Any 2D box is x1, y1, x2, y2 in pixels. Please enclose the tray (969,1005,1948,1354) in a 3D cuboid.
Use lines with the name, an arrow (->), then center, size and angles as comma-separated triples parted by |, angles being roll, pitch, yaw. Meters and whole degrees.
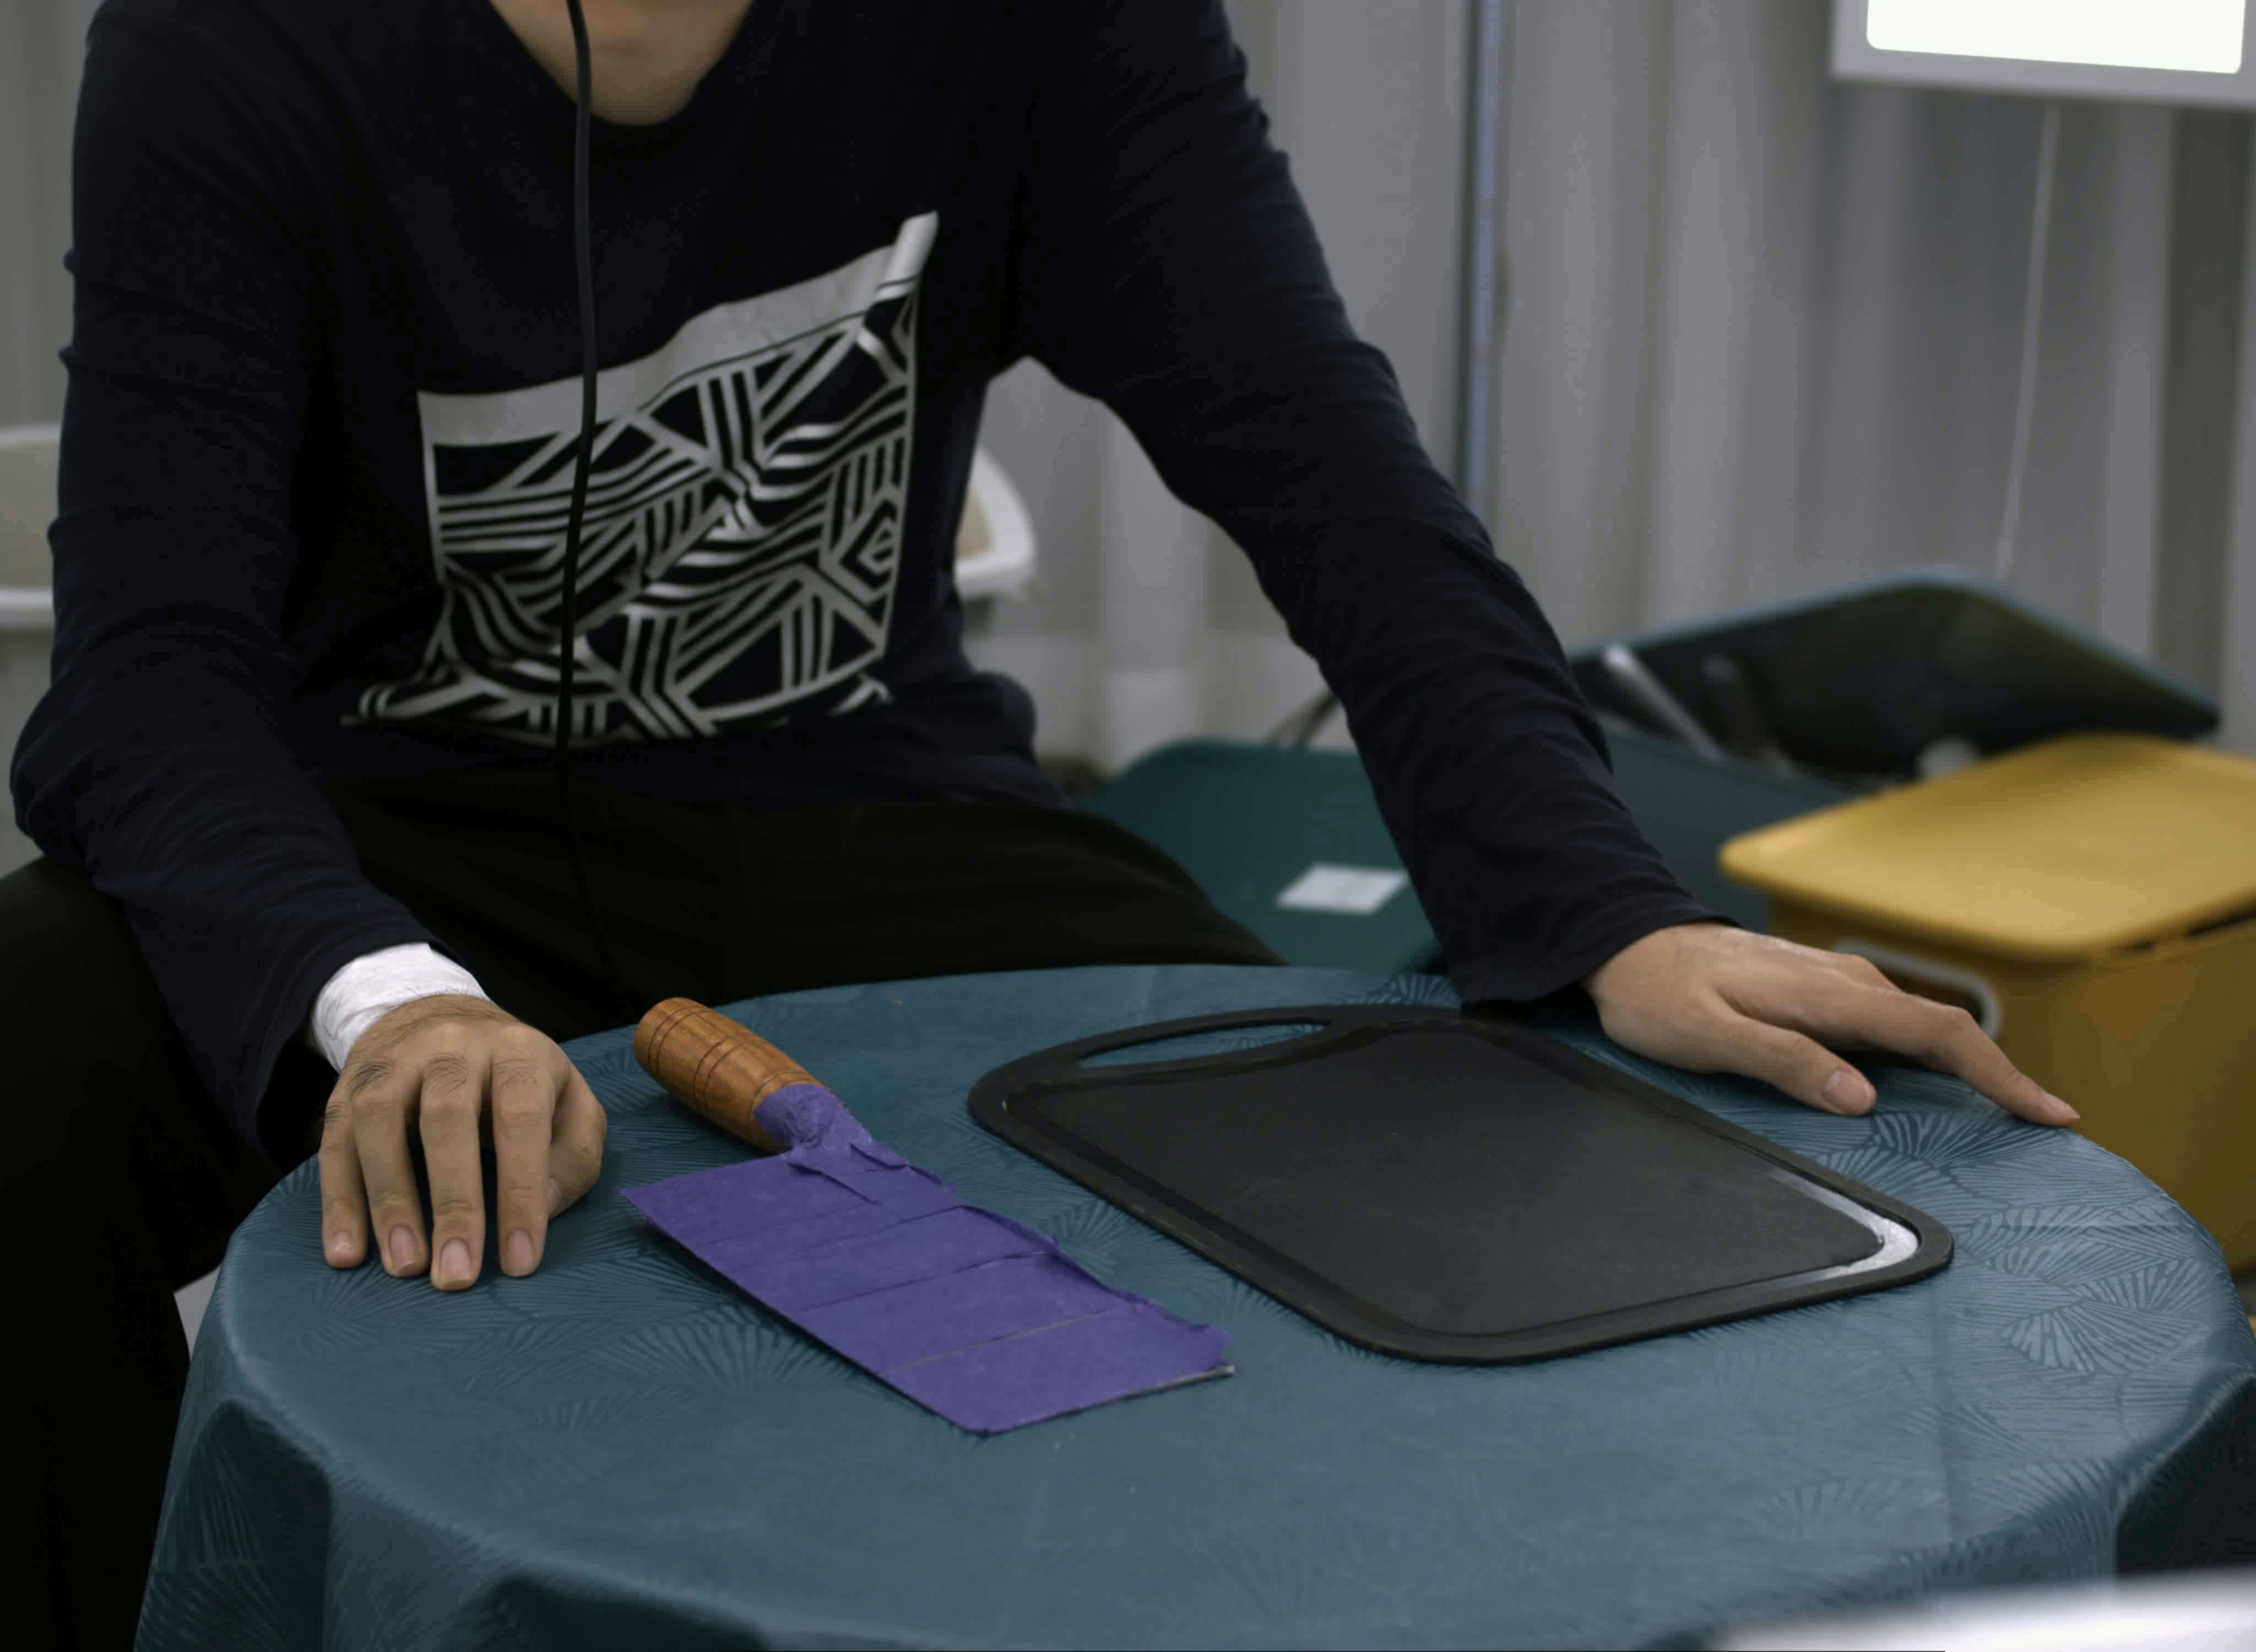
tray -> 0.092, 0.103, 1.650 | 0.212, 0.010, 0.321 | -8, 17, -29

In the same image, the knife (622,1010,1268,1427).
knife -> -0.089, 0.113, 1.568 | 0.104, 0.032, 0.311 | -10, 19, -34
